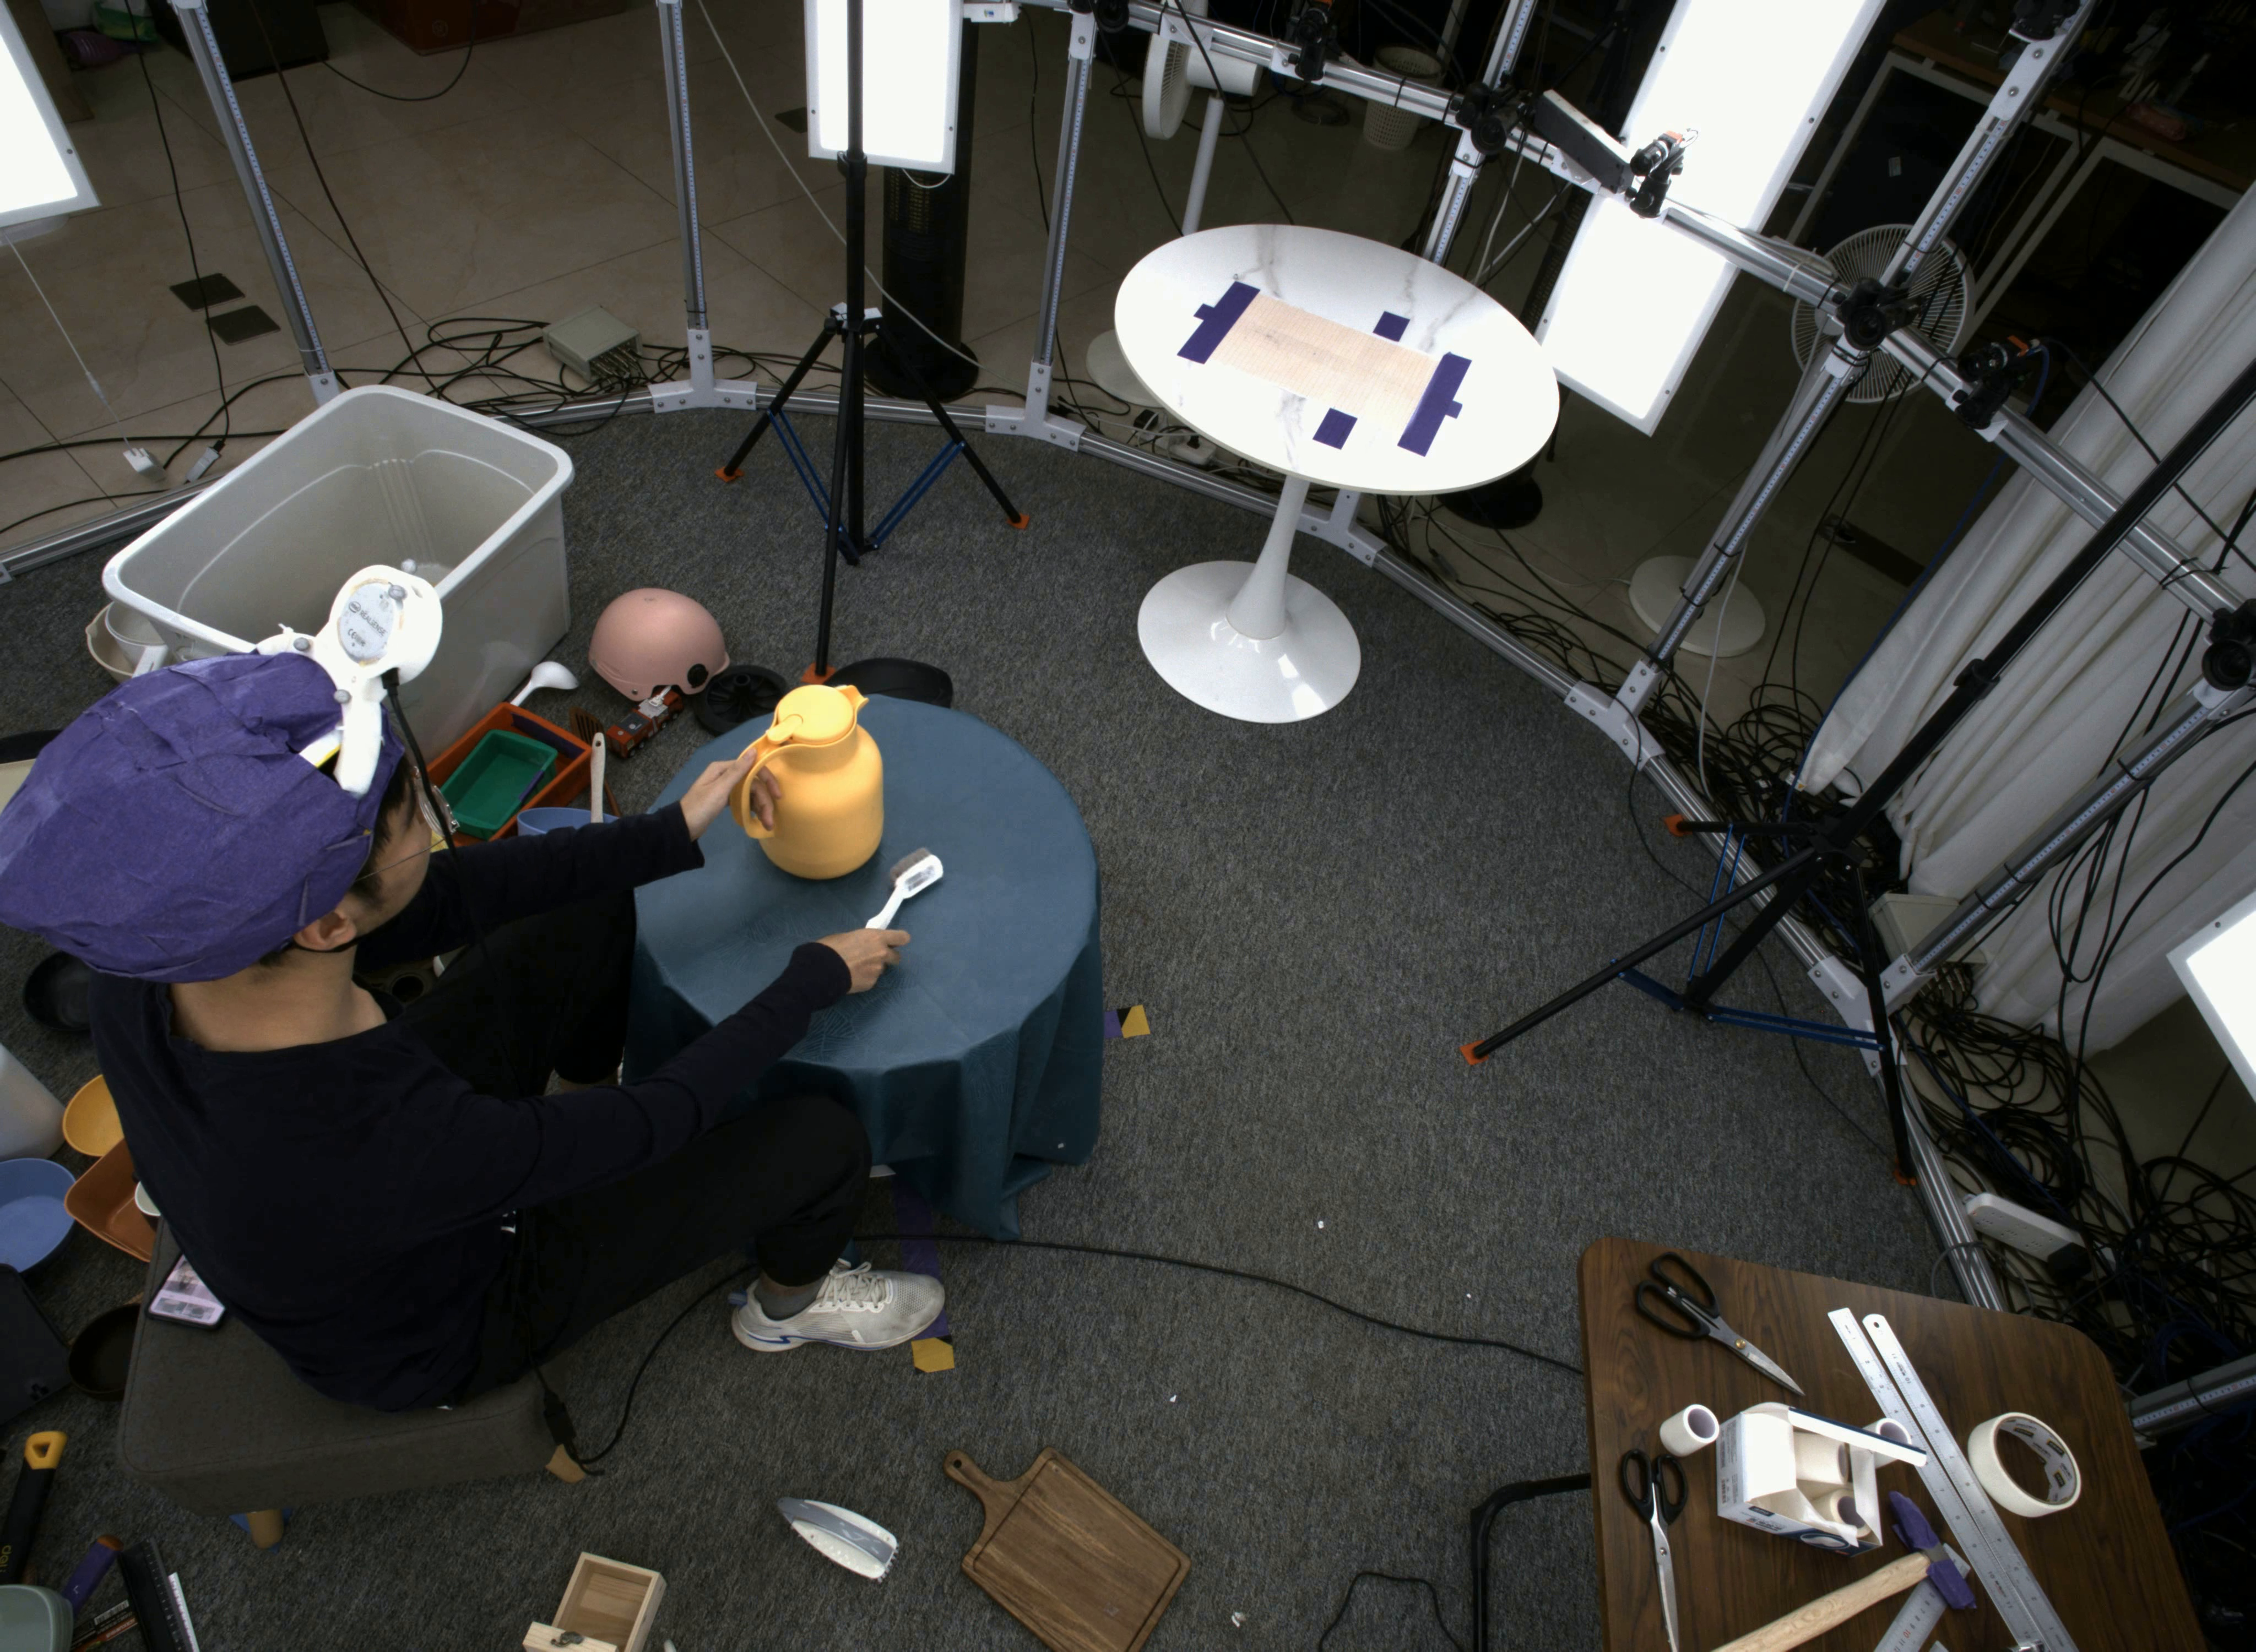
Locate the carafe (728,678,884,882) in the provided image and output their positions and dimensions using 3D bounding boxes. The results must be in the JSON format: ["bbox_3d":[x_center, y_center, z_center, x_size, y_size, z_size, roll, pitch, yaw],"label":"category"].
[{"bbox_3d":[-0.400,-0.054,1.603,0.159,0.267,0.203,40,54,22],"label":"carafe"}]

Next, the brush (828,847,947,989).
[{"bbox_3d":[-0.312,0.109,1.634,0.049,0.035,0.243,27,49,17],"label":"brush"}]
